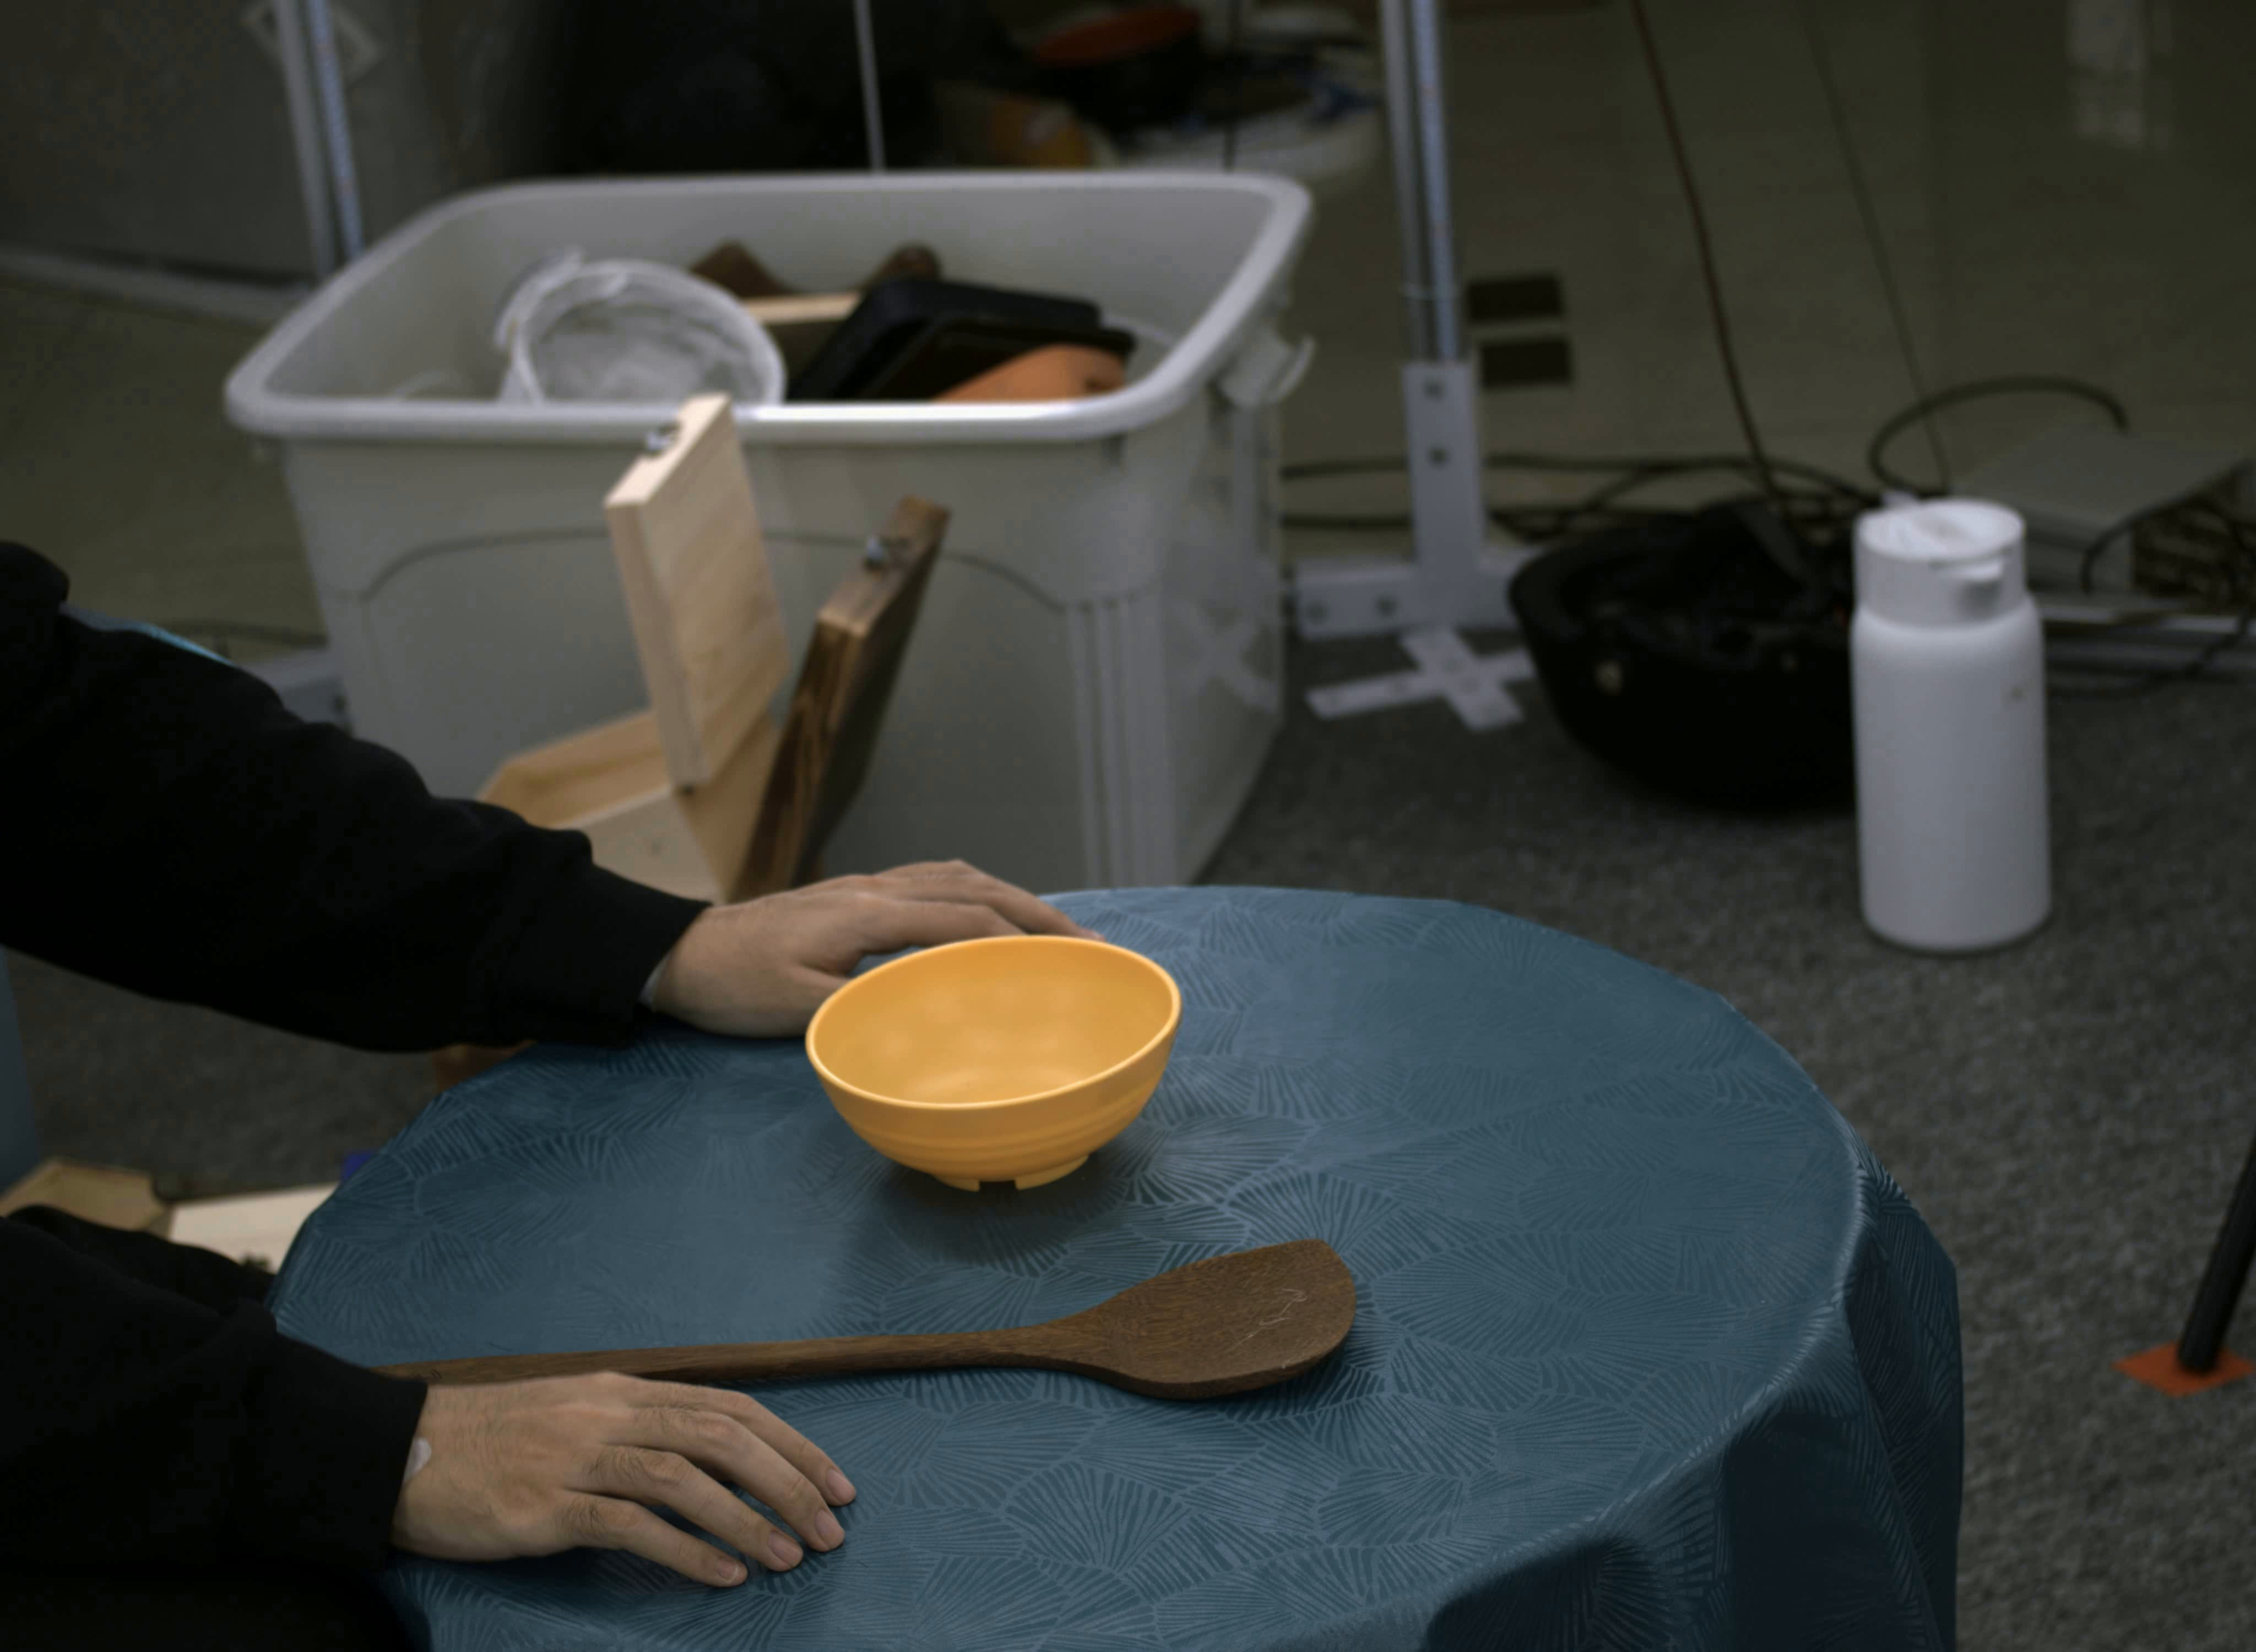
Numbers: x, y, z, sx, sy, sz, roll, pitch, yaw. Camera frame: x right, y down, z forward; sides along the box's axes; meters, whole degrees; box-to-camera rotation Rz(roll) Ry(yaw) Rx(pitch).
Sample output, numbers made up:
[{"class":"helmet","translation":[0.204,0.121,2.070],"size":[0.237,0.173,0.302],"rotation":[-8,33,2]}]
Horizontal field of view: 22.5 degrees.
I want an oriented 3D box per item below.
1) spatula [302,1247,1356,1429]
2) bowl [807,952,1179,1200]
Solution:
[{"class":"spatula","translation":[-0.110,0.192,2.050],"size":[0.385,0.016,0.095],"rotation":[-5,24,4]},{"class":"bowl","translation":[-0.048,0.103,2.177],"size":[0.145,0.061,0.143],"rotation":[-6,23,3]}]
